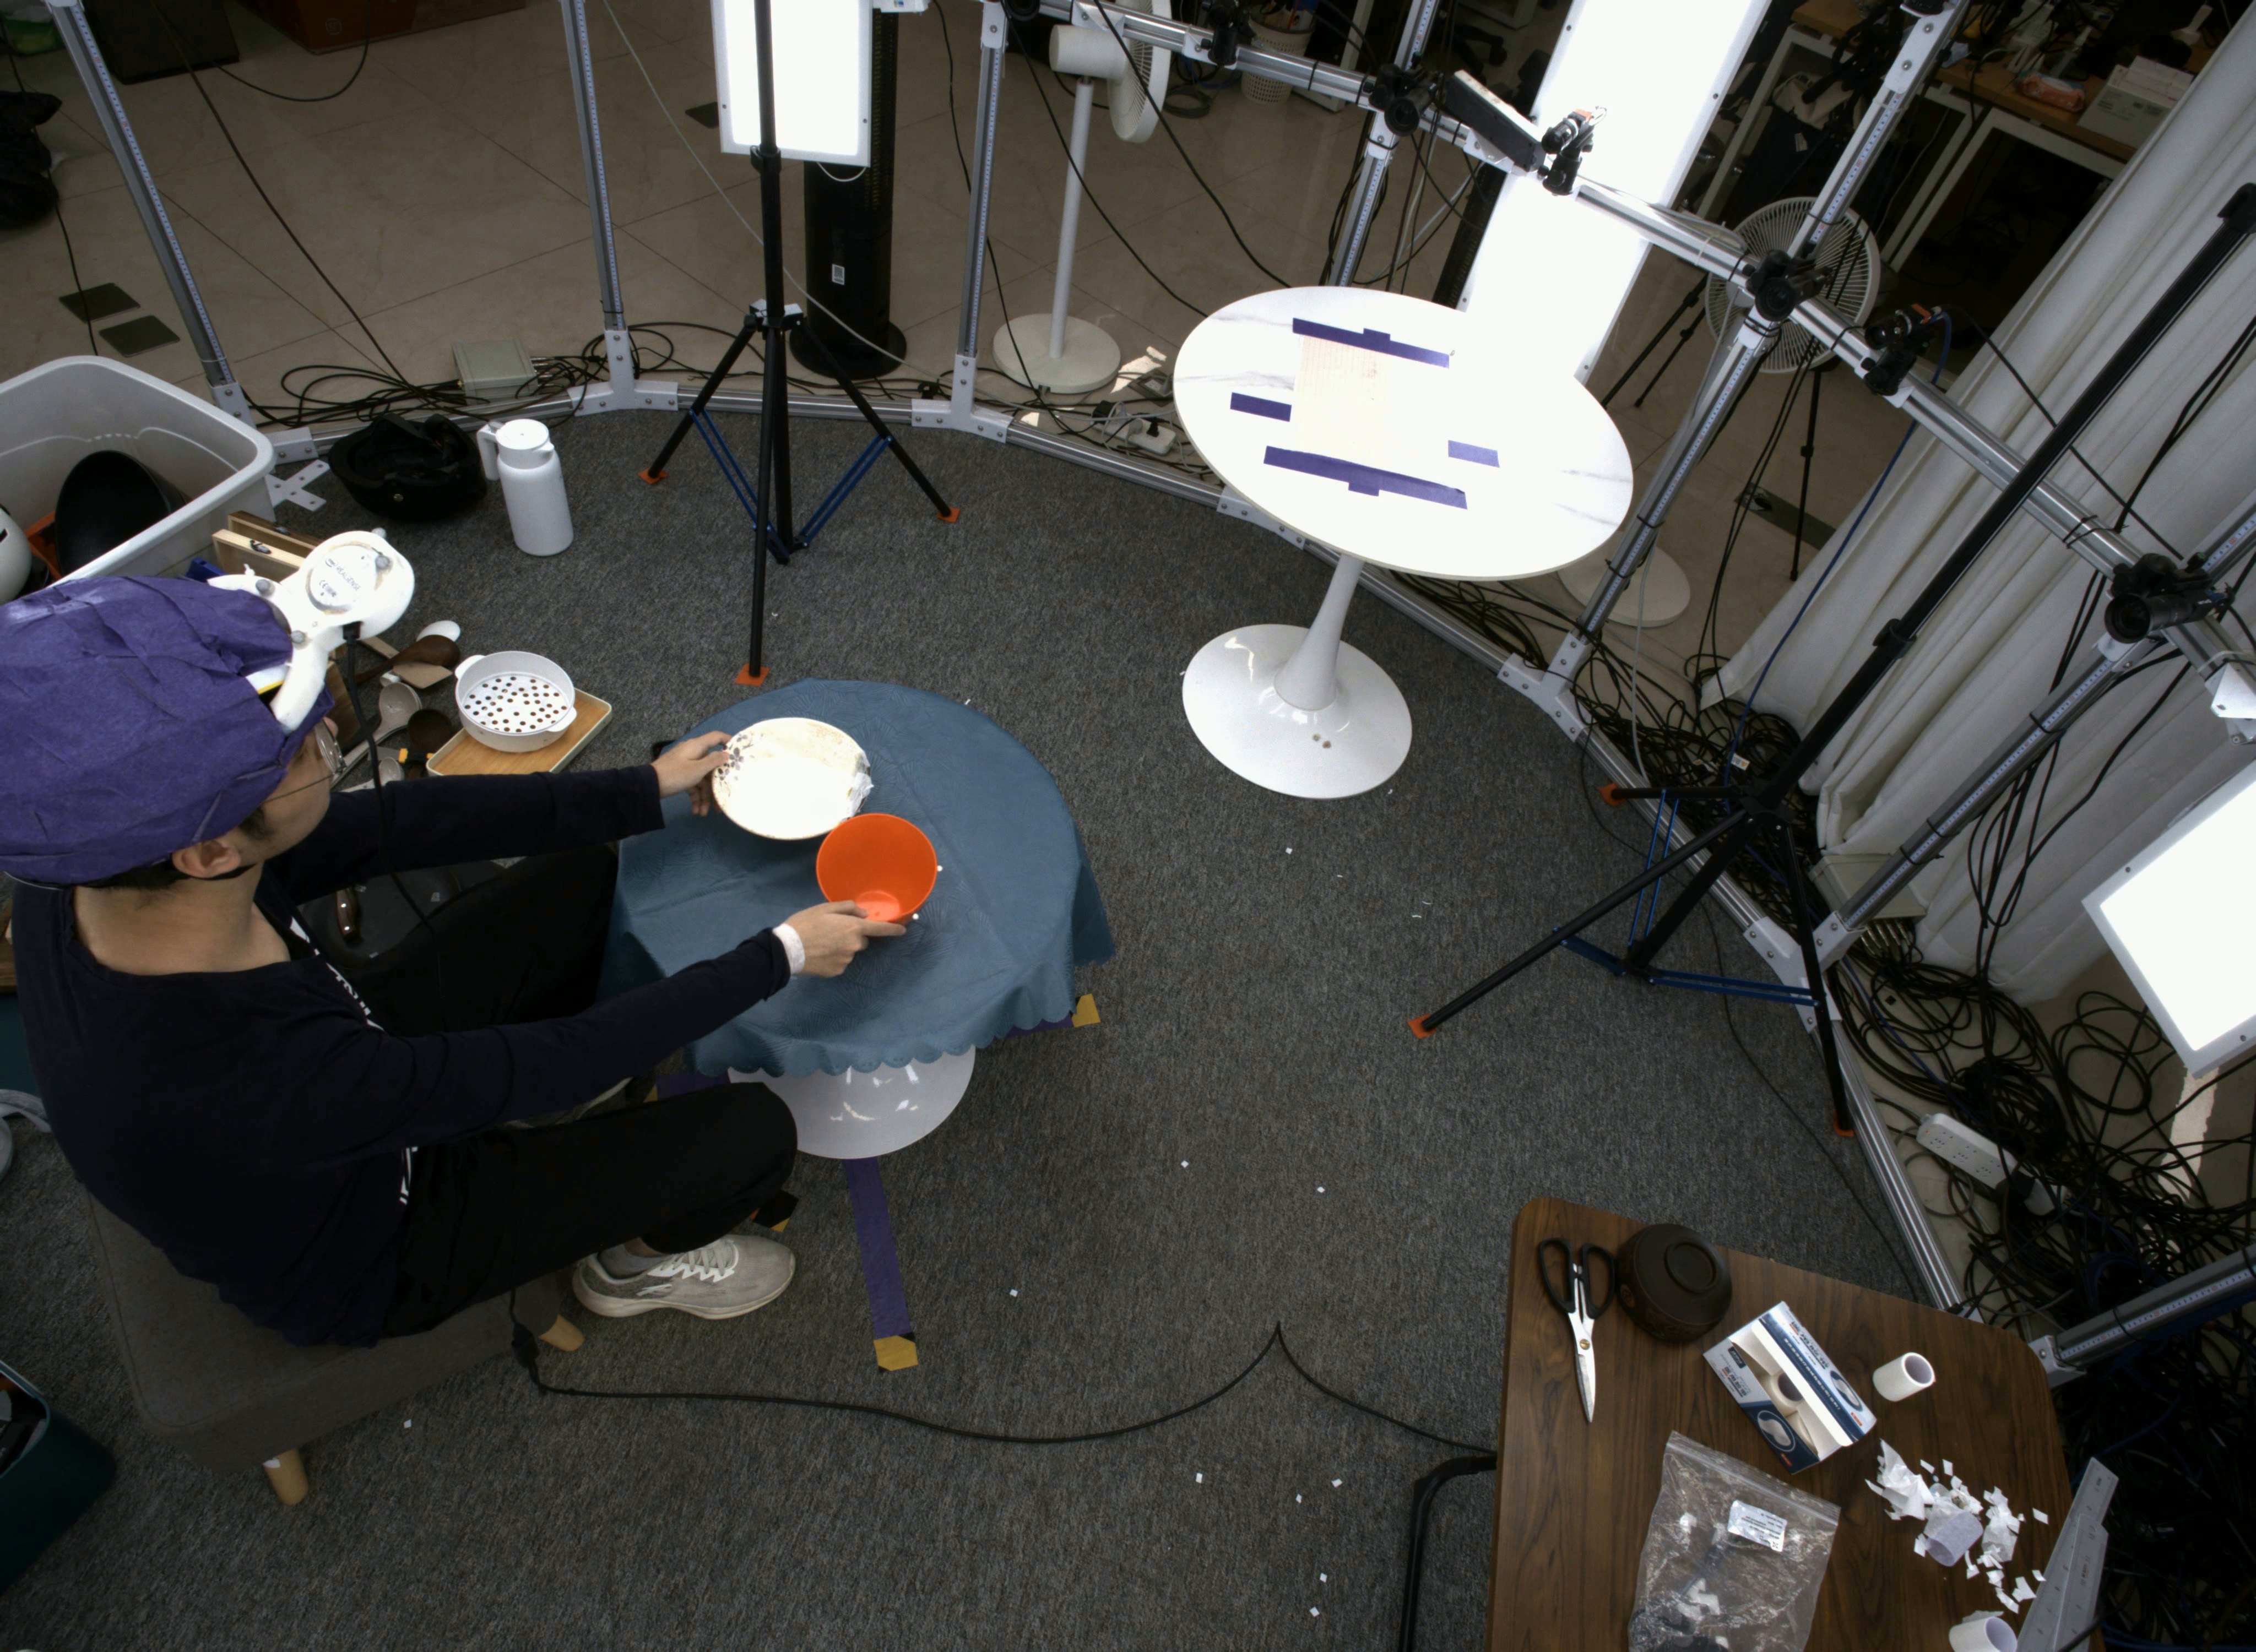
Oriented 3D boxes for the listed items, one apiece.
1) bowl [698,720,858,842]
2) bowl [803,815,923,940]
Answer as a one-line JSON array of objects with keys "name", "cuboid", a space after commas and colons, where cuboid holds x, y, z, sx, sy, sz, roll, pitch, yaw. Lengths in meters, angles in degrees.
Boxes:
[{"name": "bowl", "cuboid": [-0.458, -0.040, 1.707, 0.203, 0.079, 0.200, 7, 52, -7]}, {"name": "bowl", "cuboid": [-0.333, 0.076, 1.639, 0.147, 0.107, 0.145, 7, 54, -8]}]
